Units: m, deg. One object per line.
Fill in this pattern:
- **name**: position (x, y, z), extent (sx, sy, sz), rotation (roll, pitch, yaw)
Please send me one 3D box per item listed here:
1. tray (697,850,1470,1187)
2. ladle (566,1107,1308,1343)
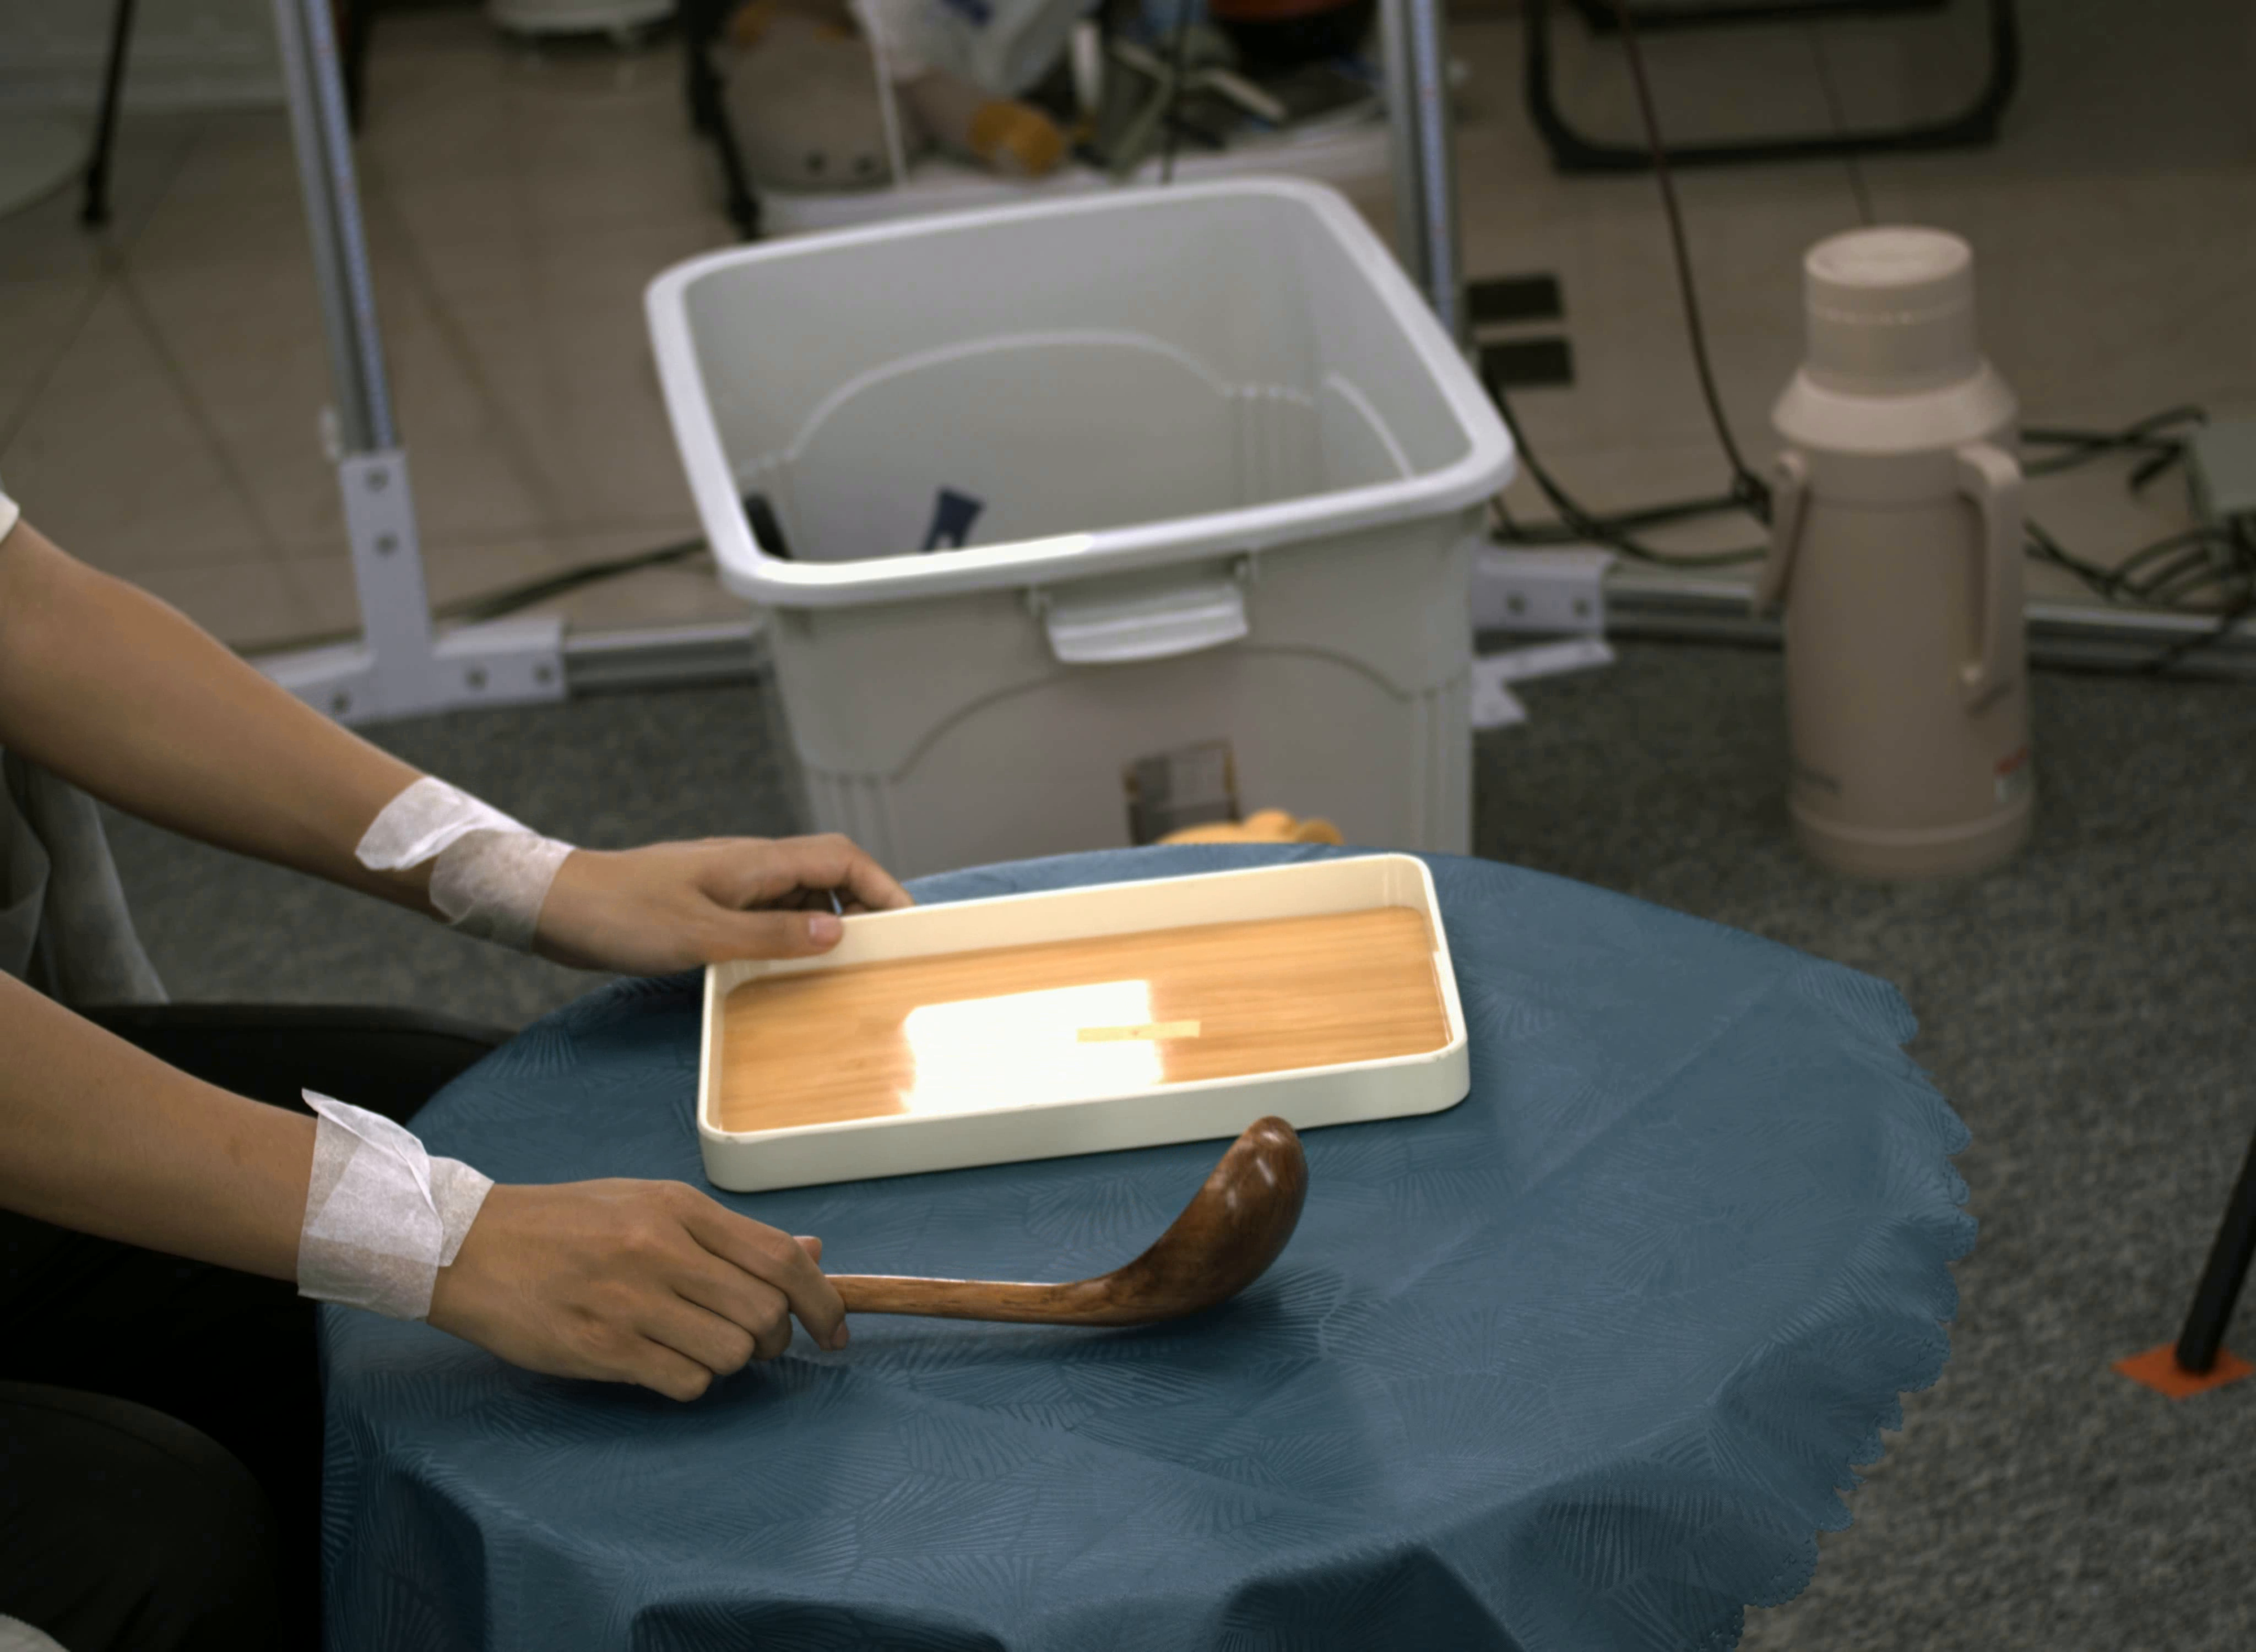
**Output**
- **tray**: position (-0.020, 0.075, 2.260), extent (0.300, 0.028, 0.189), rotation (-6, 25, 1)
- **ladle**: position (-0.071, 0.145, 2.064), extent (0.273, 0.076, 0.083), rotation (-2, -17, 9)
